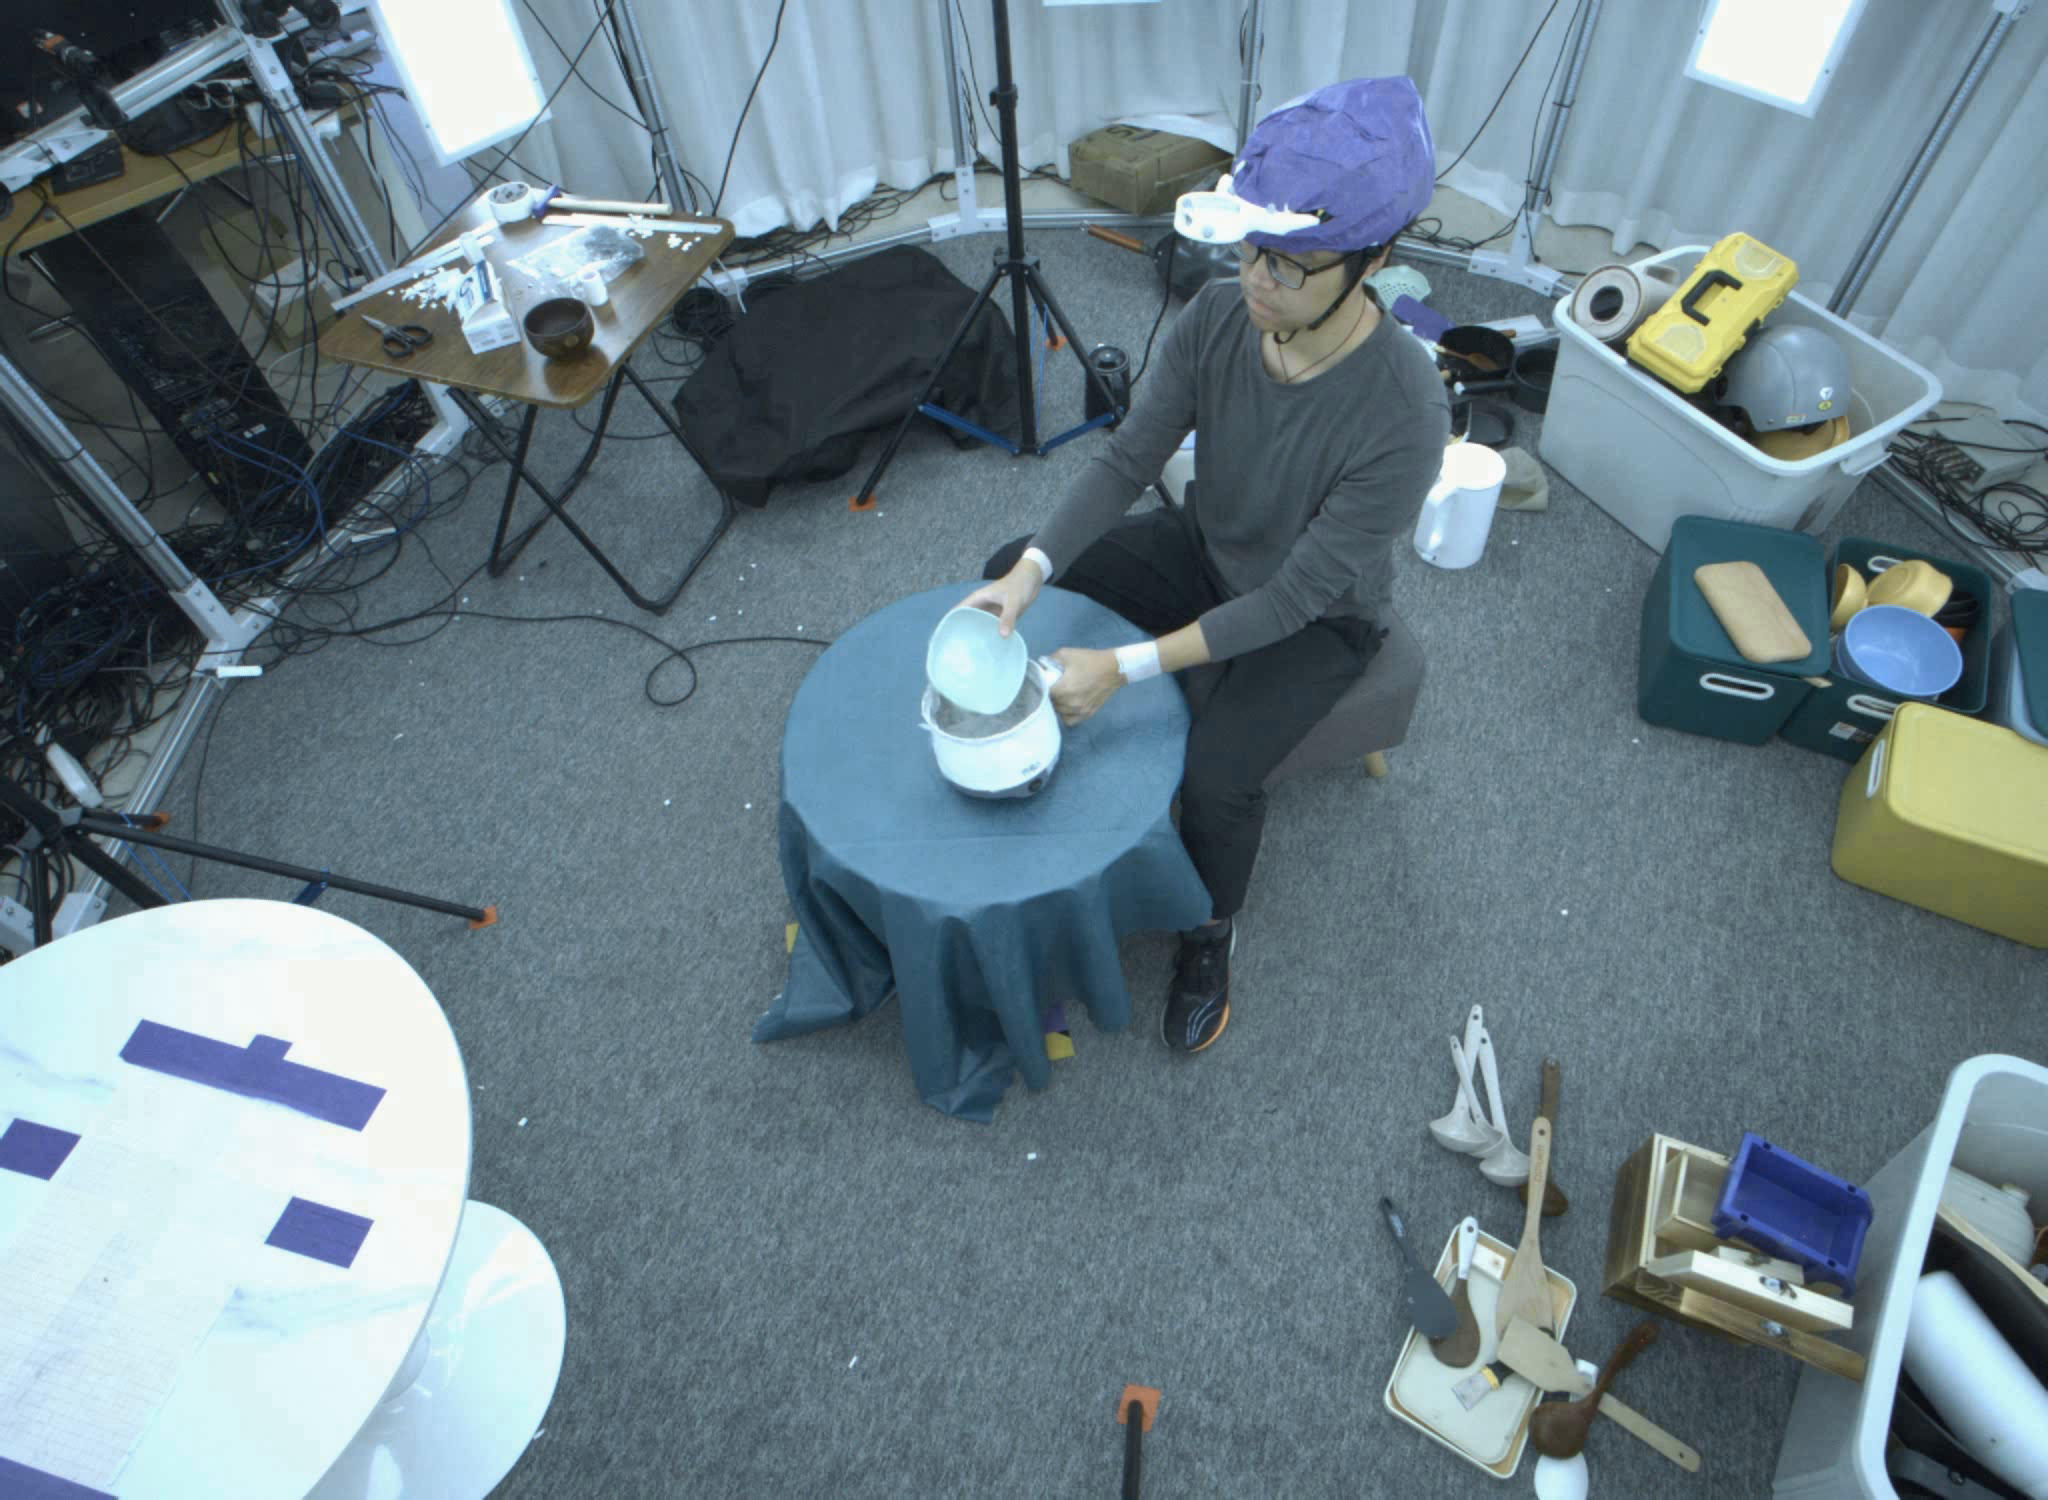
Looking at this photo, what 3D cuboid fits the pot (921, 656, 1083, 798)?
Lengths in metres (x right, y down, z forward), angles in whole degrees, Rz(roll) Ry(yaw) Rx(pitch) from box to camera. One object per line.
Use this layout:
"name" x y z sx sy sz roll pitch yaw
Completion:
"pot" -0.021 -0.046 1.733 0.235 0.138 0.175 -34 50 -20

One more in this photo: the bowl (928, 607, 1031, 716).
"bowl" -0.069 -0.116 1.676 0.154 0.058 0.151 3 84 -24
